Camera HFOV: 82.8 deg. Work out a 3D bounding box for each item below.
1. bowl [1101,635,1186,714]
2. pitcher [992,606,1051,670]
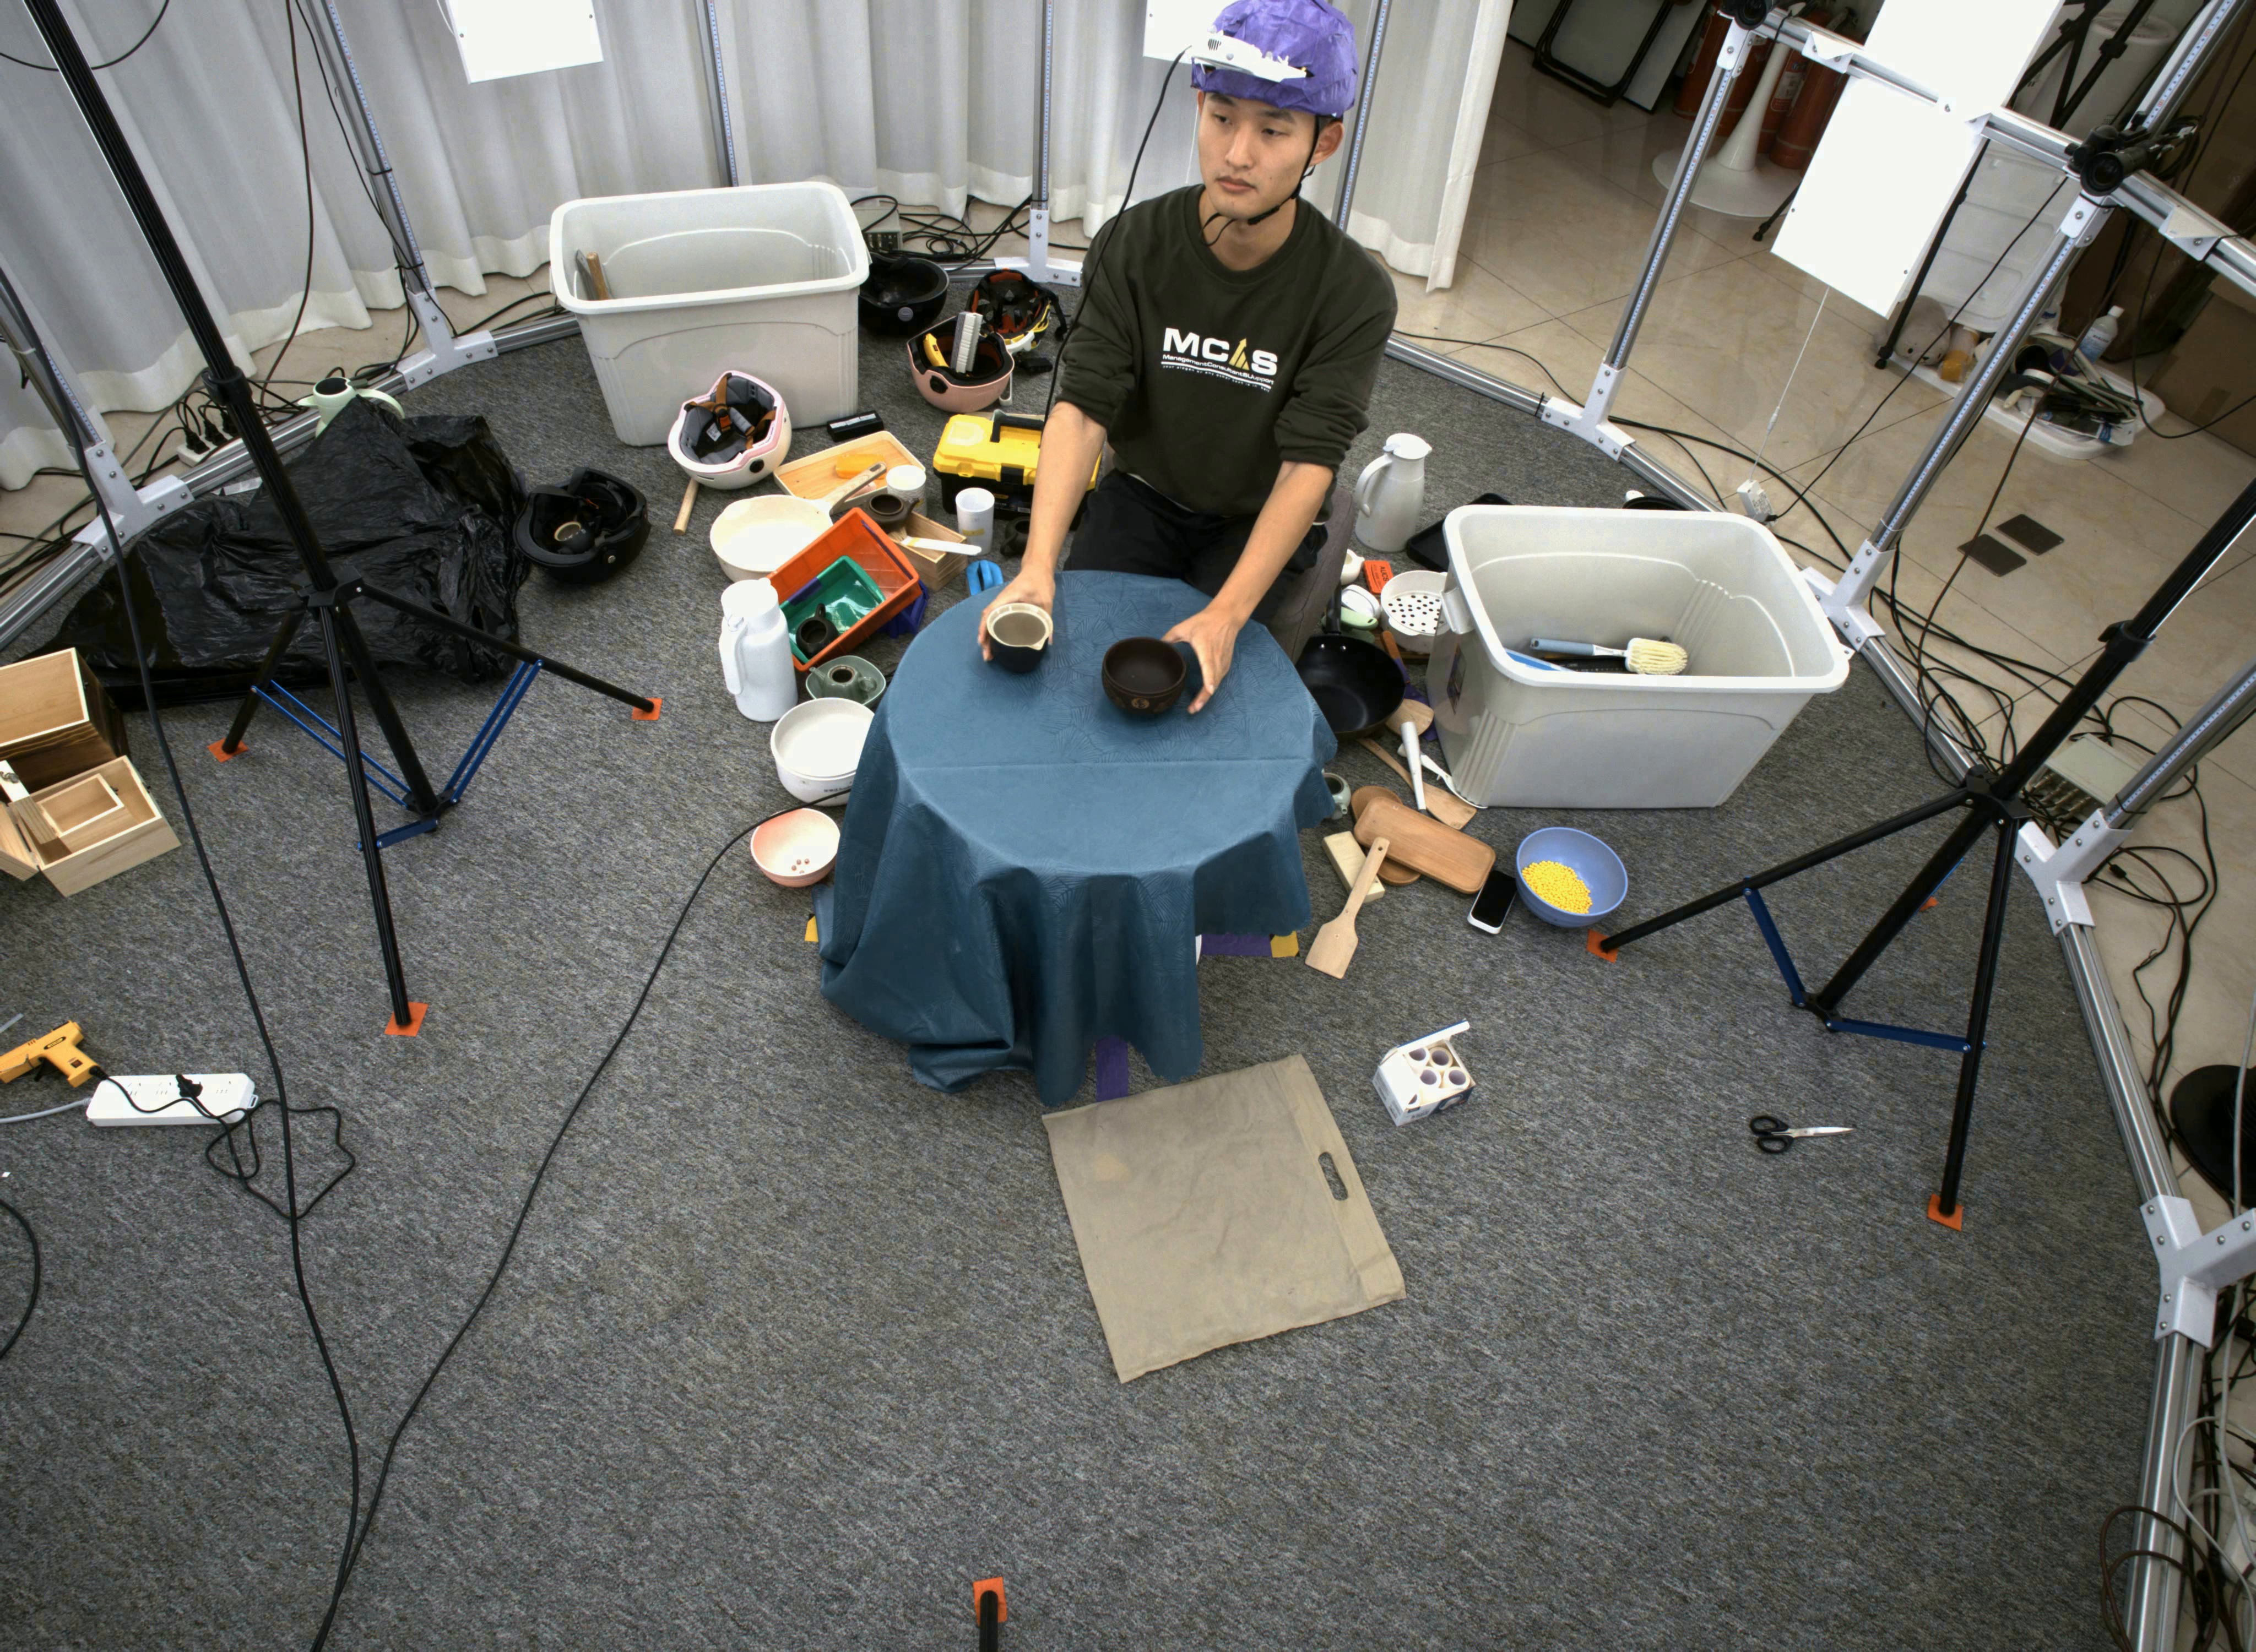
[{"bbox_3d":[0.021,-0.204,1.797,0.118,0.068,0.121,1,50,-2],"label":"bowl"},{"bbox_3d":[-0.150,-0.262,1.833,0.084,0.069,0.098,-18,52,-21],"label":"pitcher"}]
